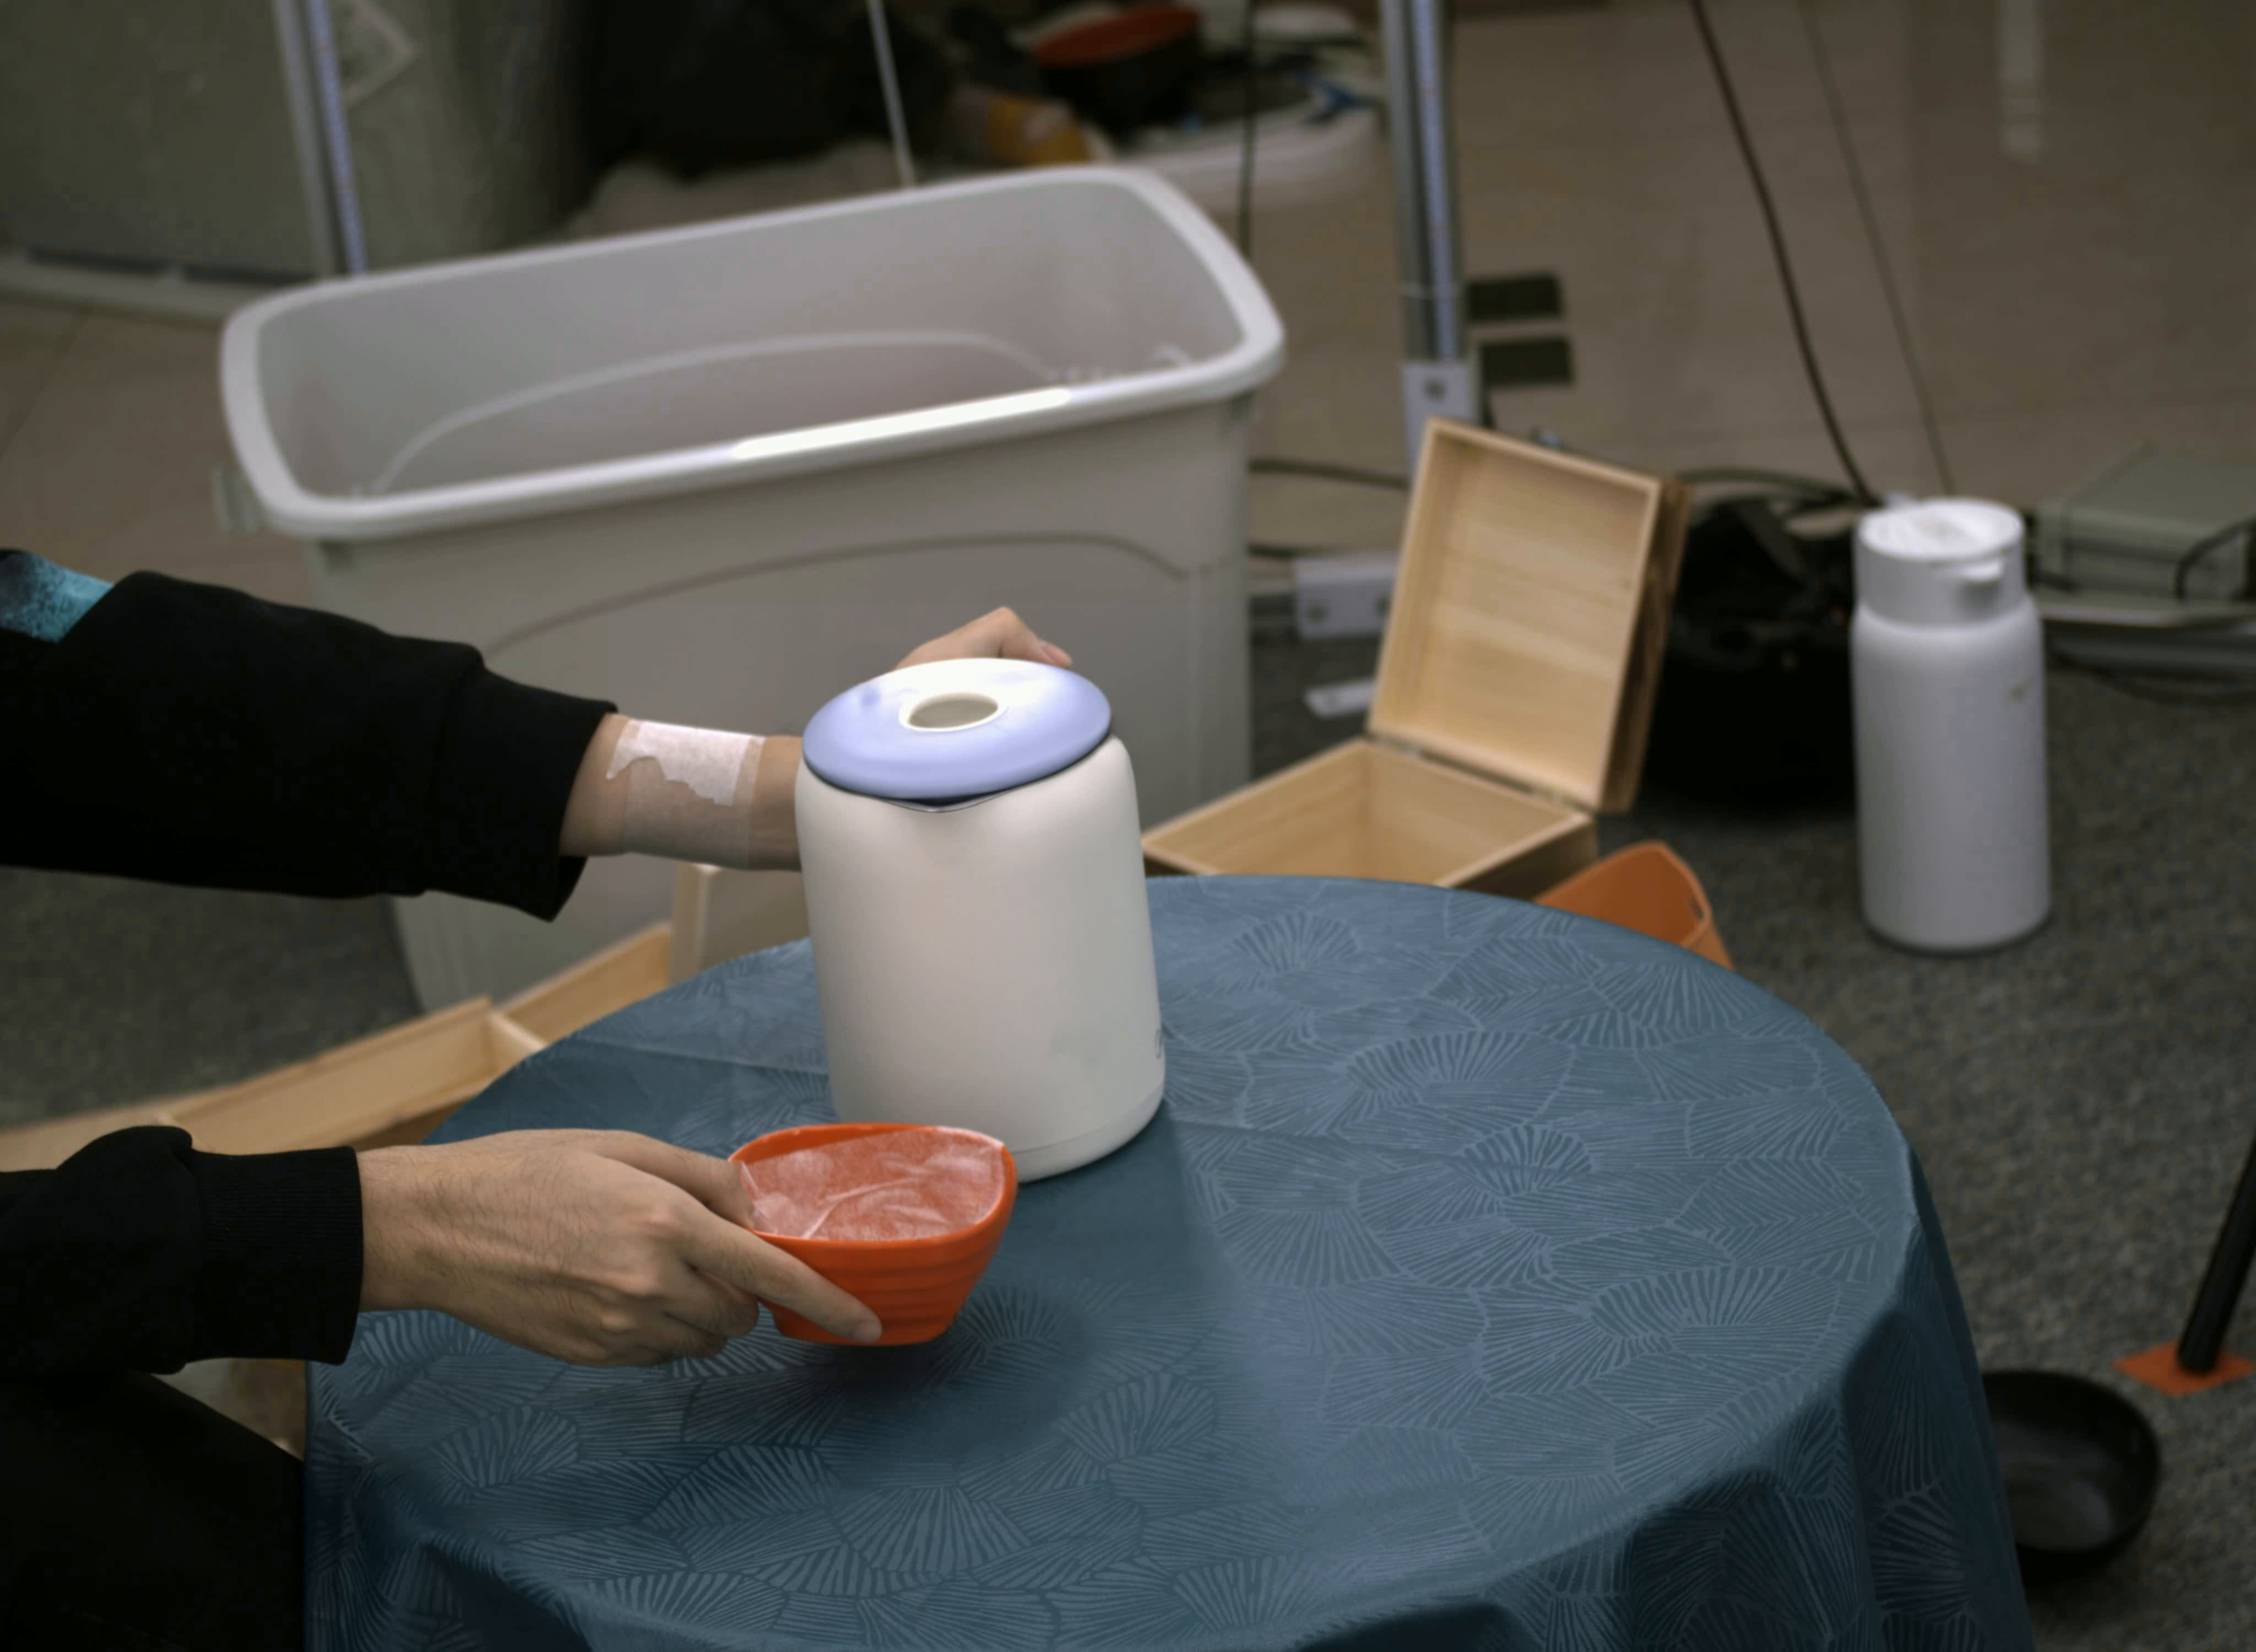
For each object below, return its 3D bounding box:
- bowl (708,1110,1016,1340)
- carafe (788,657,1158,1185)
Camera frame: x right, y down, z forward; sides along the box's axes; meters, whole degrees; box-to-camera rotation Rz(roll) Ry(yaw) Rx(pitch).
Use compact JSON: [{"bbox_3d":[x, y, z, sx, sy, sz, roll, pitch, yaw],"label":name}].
[{"bbox_3d":[-0.096,0.147,2.044,0.119,0.052,0.117,1,23,0],"label":"bowl"},{"bbox_3d":[-0.059,0.027,2.194,0.132,0.185,0.188,-4,23,3],"label":"carafe"}]
